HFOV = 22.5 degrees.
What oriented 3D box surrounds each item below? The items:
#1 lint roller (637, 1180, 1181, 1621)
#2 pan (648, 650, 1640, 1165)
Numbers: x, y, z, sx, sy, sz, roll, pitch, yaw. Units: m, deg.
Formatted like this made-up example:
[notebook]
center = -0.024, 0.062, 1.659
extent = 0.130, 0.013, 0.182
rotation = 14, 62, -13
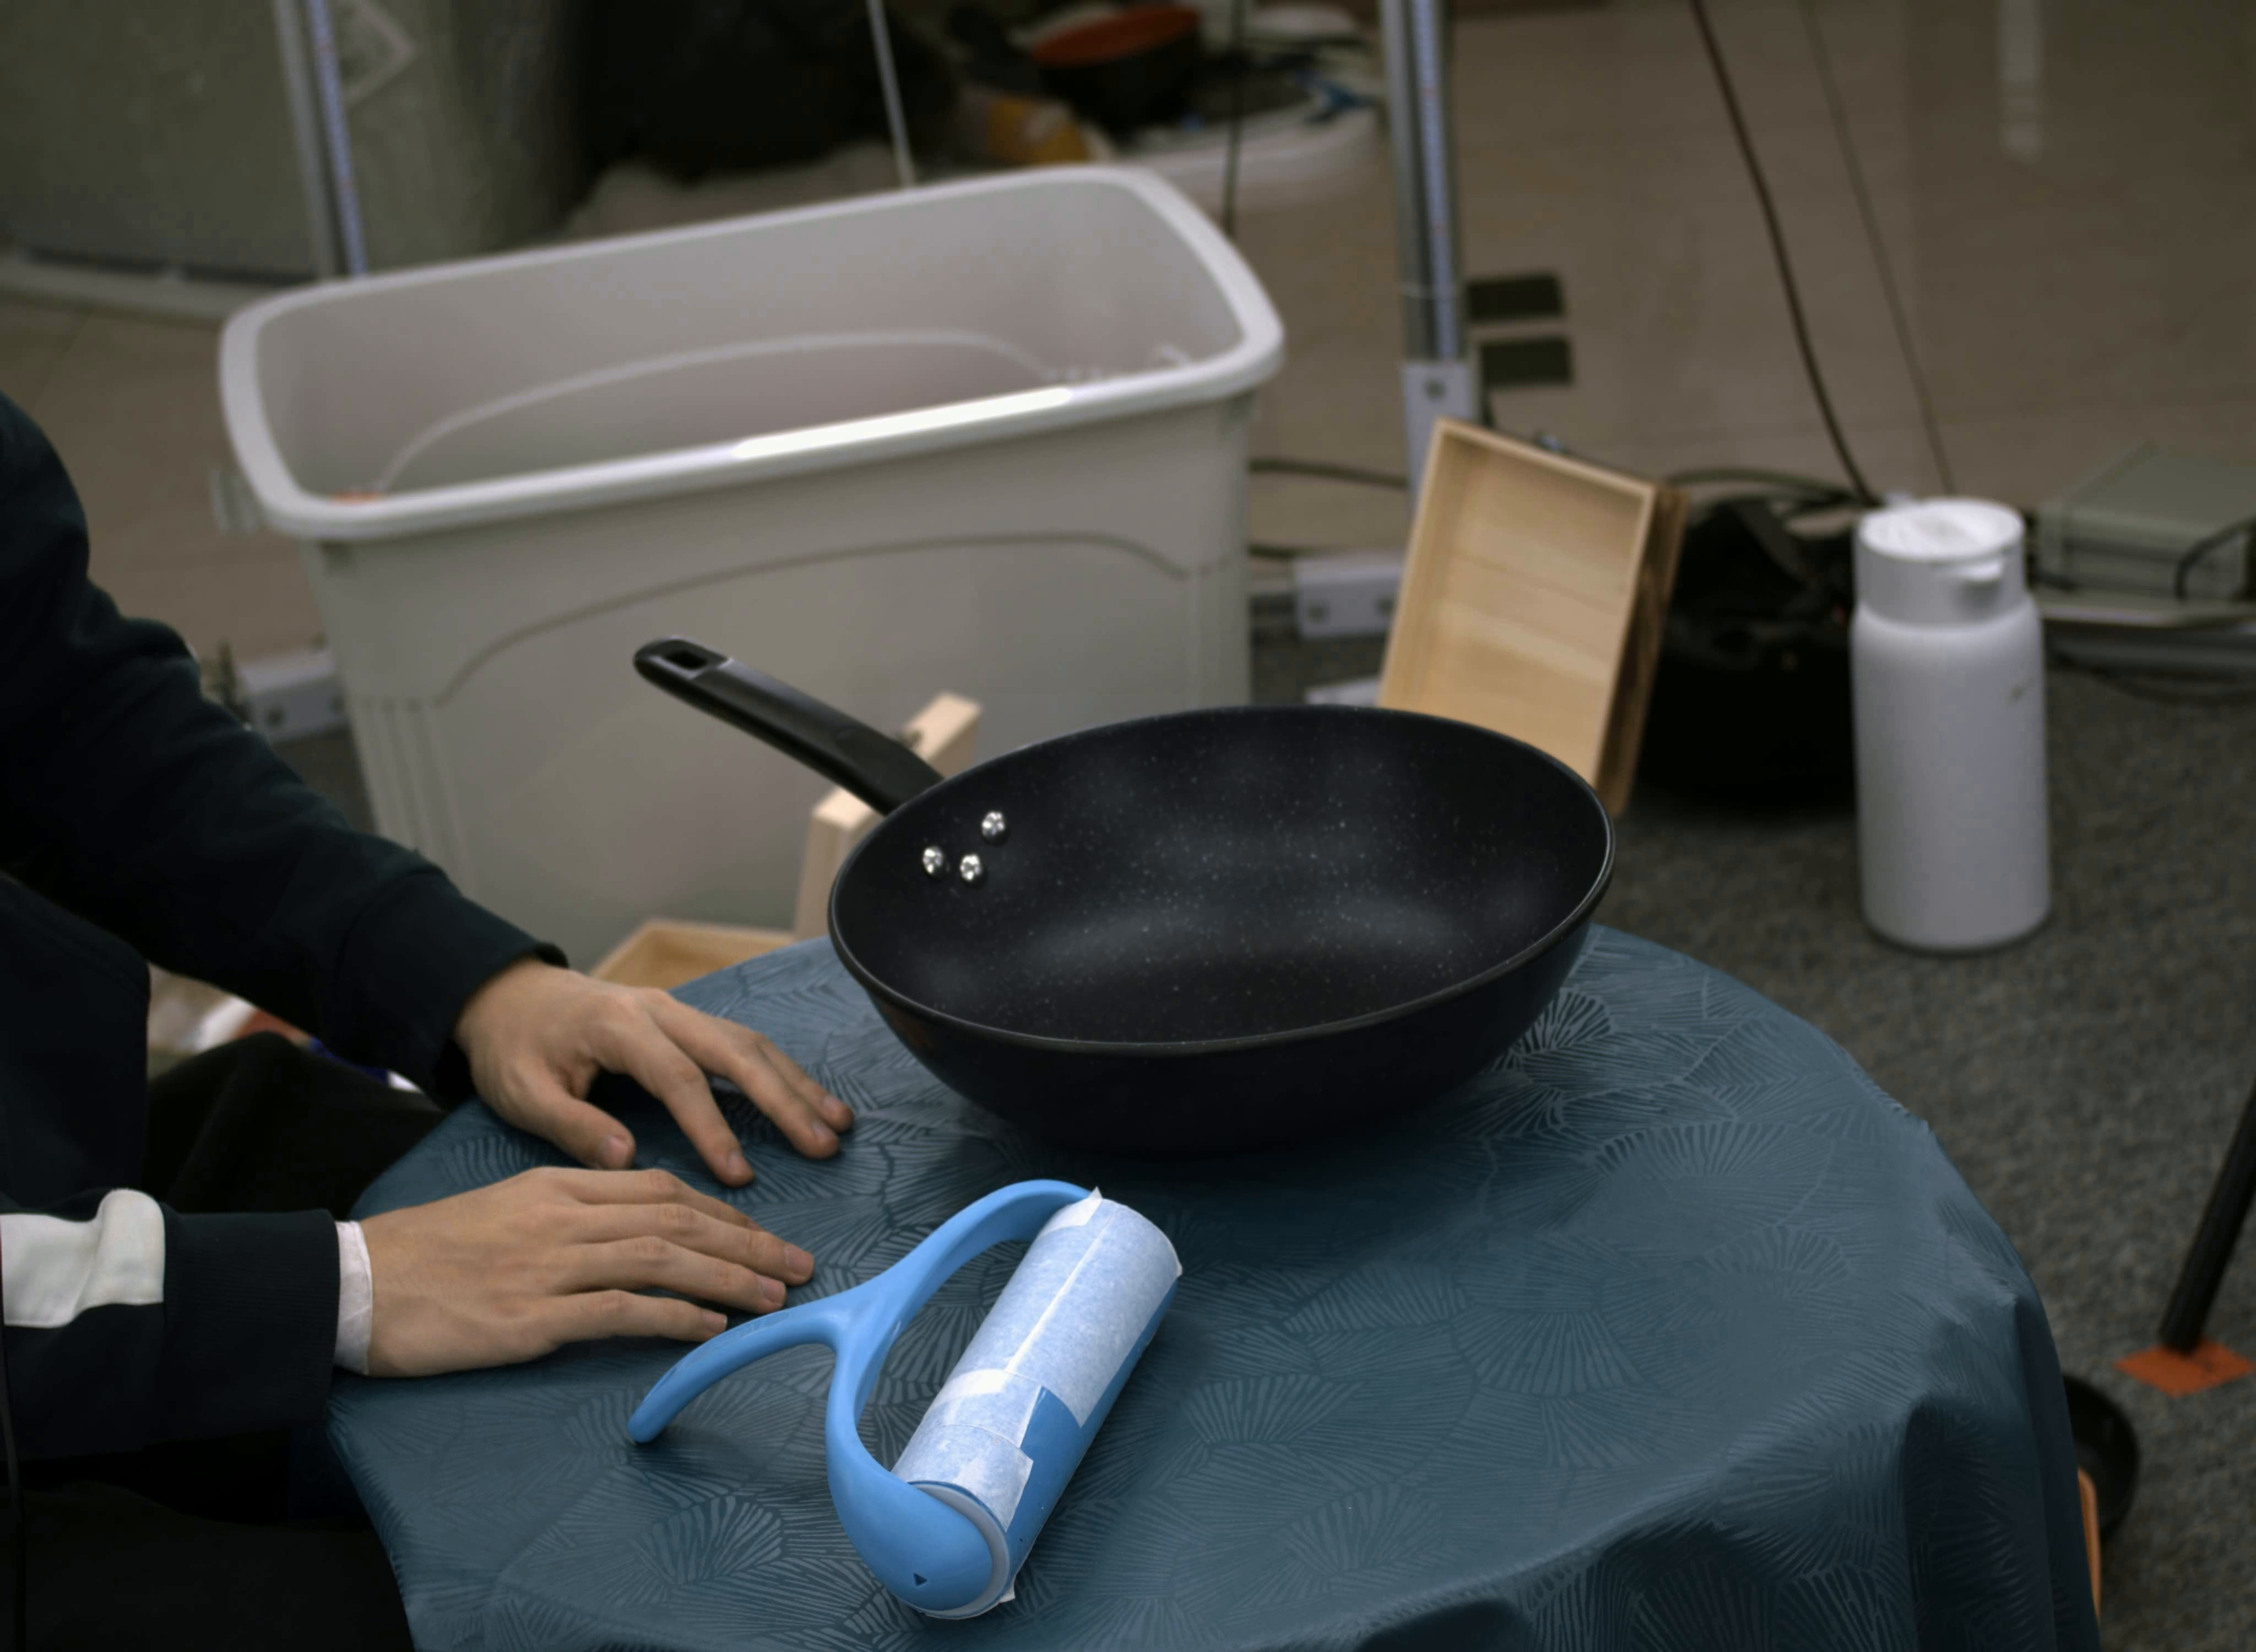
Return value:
[lint roller]
center = -0.090, 0.196, 1.977
extent = 0.180, 0.069, 0.225
rotation = 2, 29, 14
[pan]
center = -0.017, 0.027, 2.260
extent = 0.473, 0.113, 0.307
rotation = 16, 31, 39
